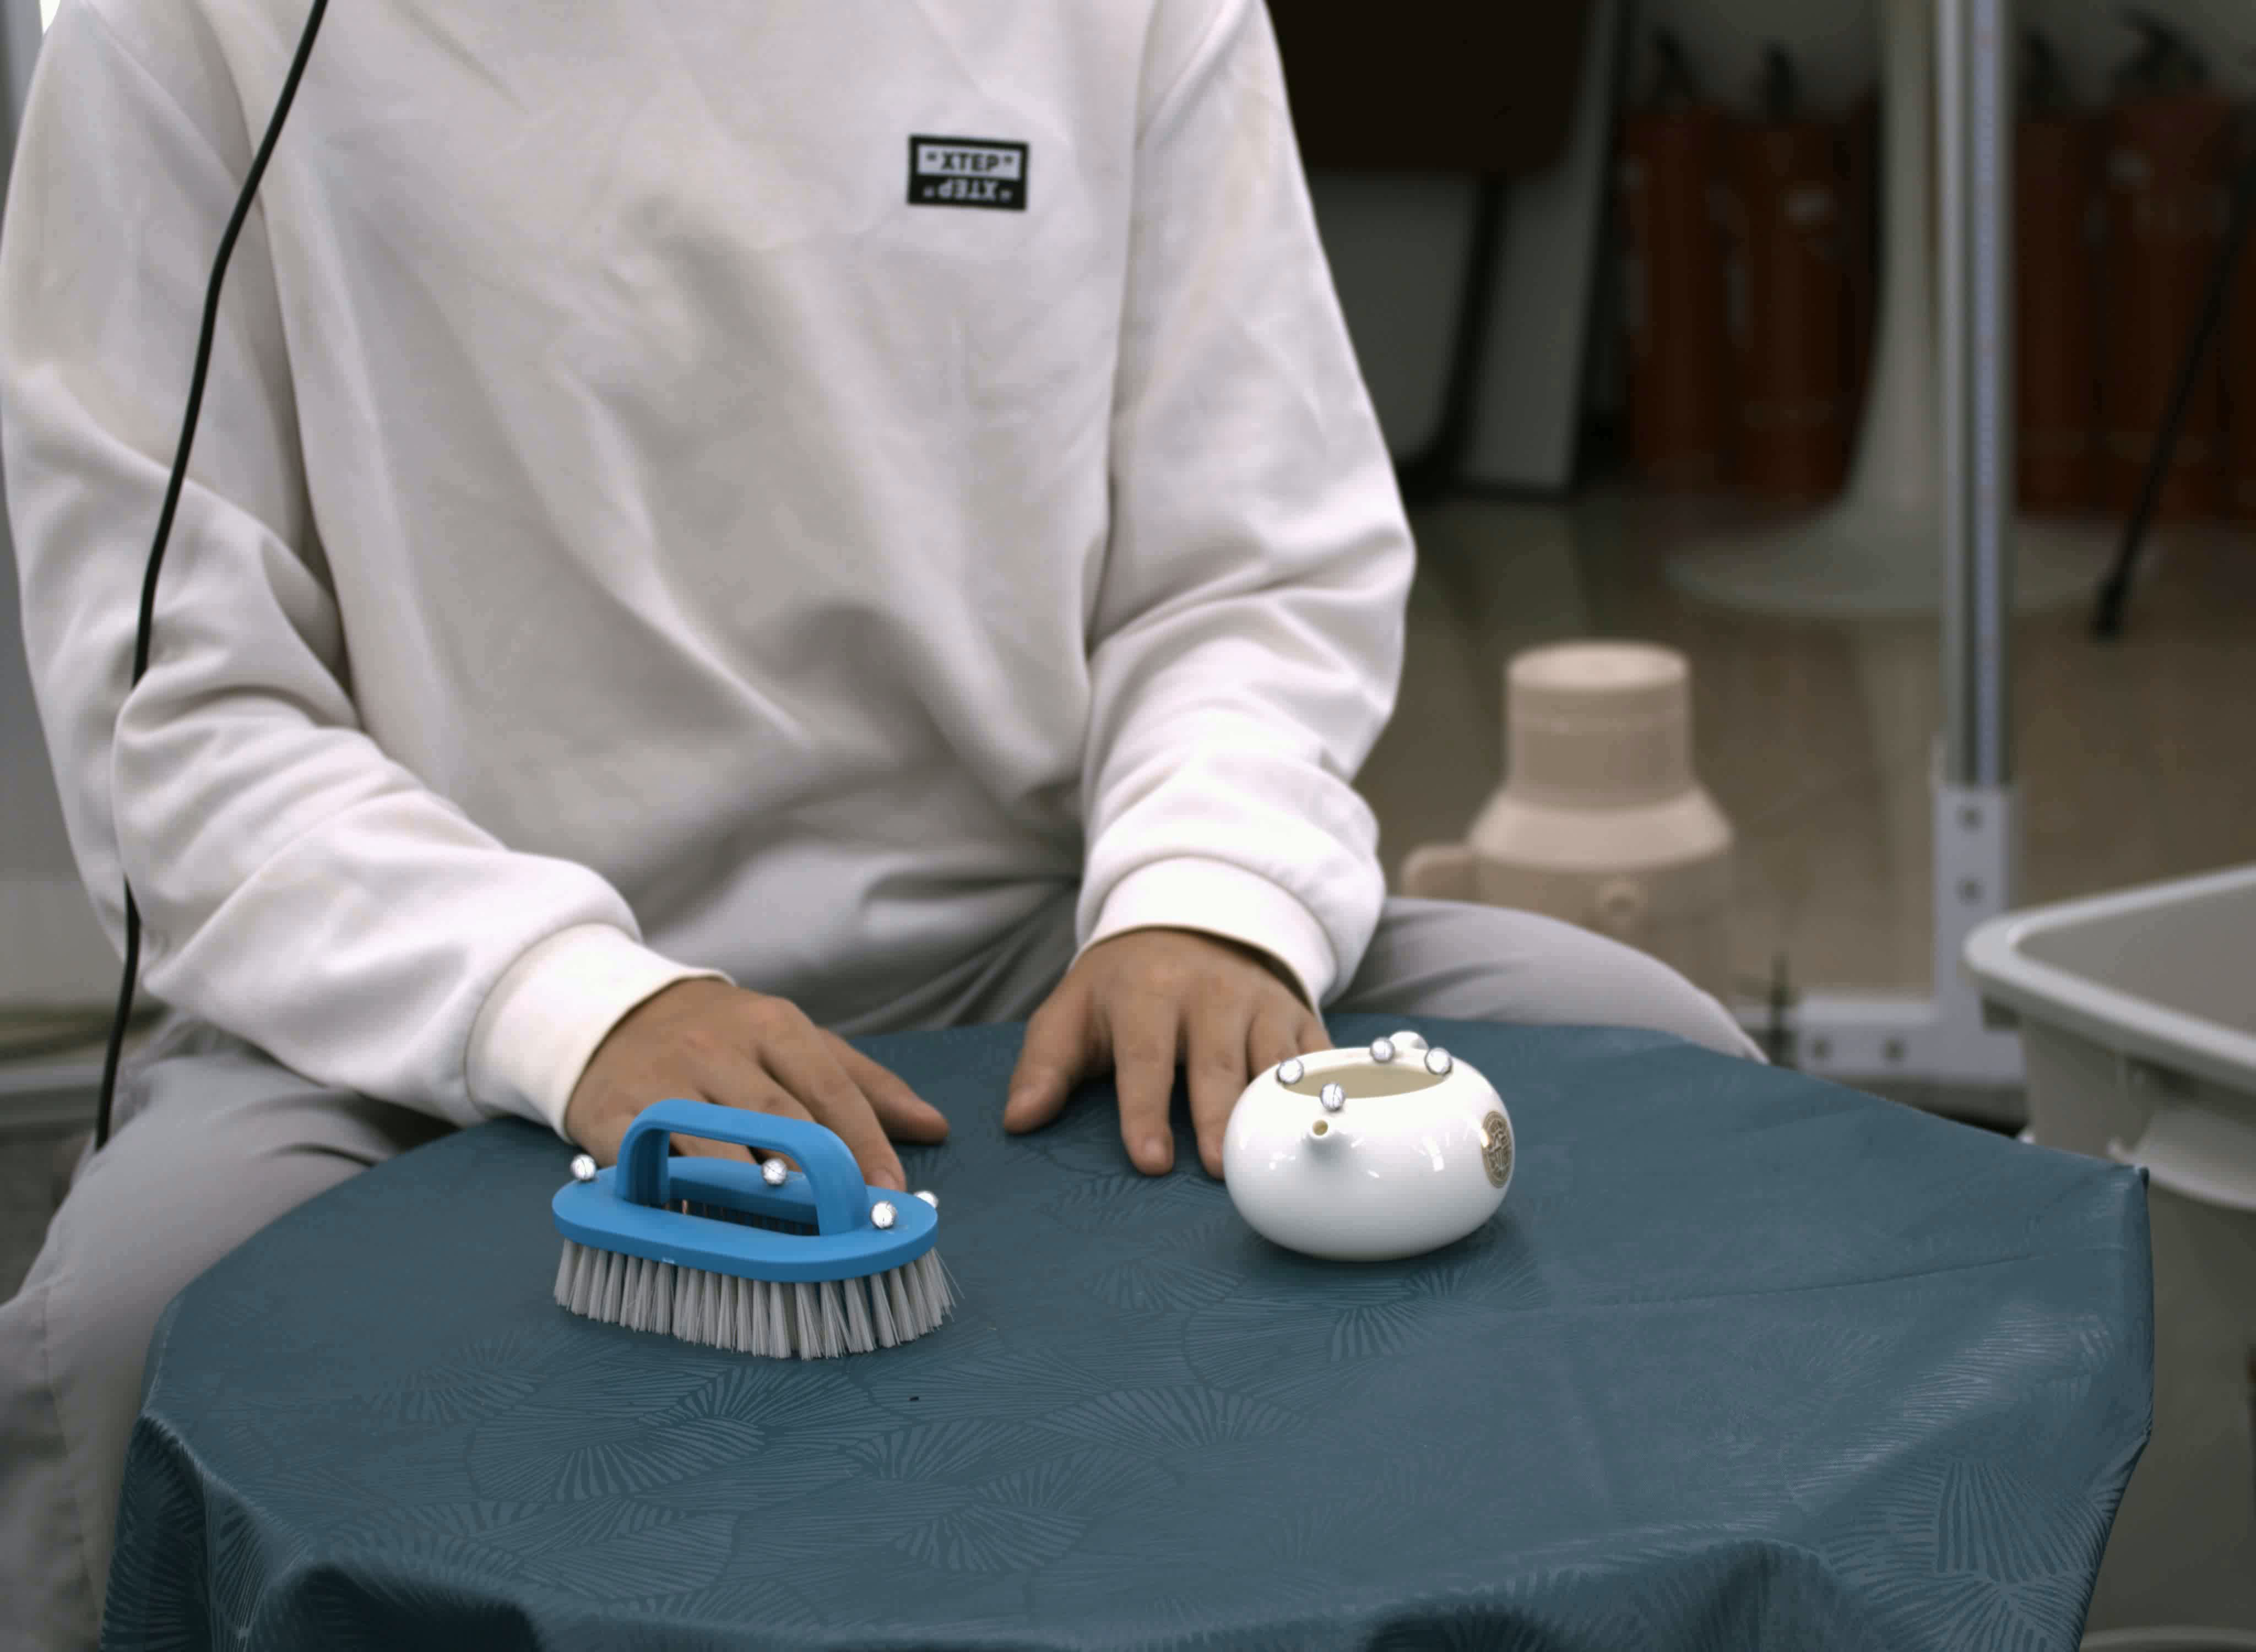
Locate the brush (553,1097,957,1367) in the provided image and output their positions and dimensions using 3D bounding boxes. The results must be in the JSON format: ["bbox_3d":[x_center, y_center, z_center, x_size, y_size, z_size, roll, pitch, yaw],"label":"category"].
[{"bbox_3d":[-0.120,0.119,1.680,0.143,0.064,0.083,6,21,40],"label":"brush"}]

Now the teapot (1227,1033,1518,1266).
[{"bbox_3d":[0.080,0.103,1.716,0.093,0.057,0.126,-5,11,15],"label":"teapot"}]
